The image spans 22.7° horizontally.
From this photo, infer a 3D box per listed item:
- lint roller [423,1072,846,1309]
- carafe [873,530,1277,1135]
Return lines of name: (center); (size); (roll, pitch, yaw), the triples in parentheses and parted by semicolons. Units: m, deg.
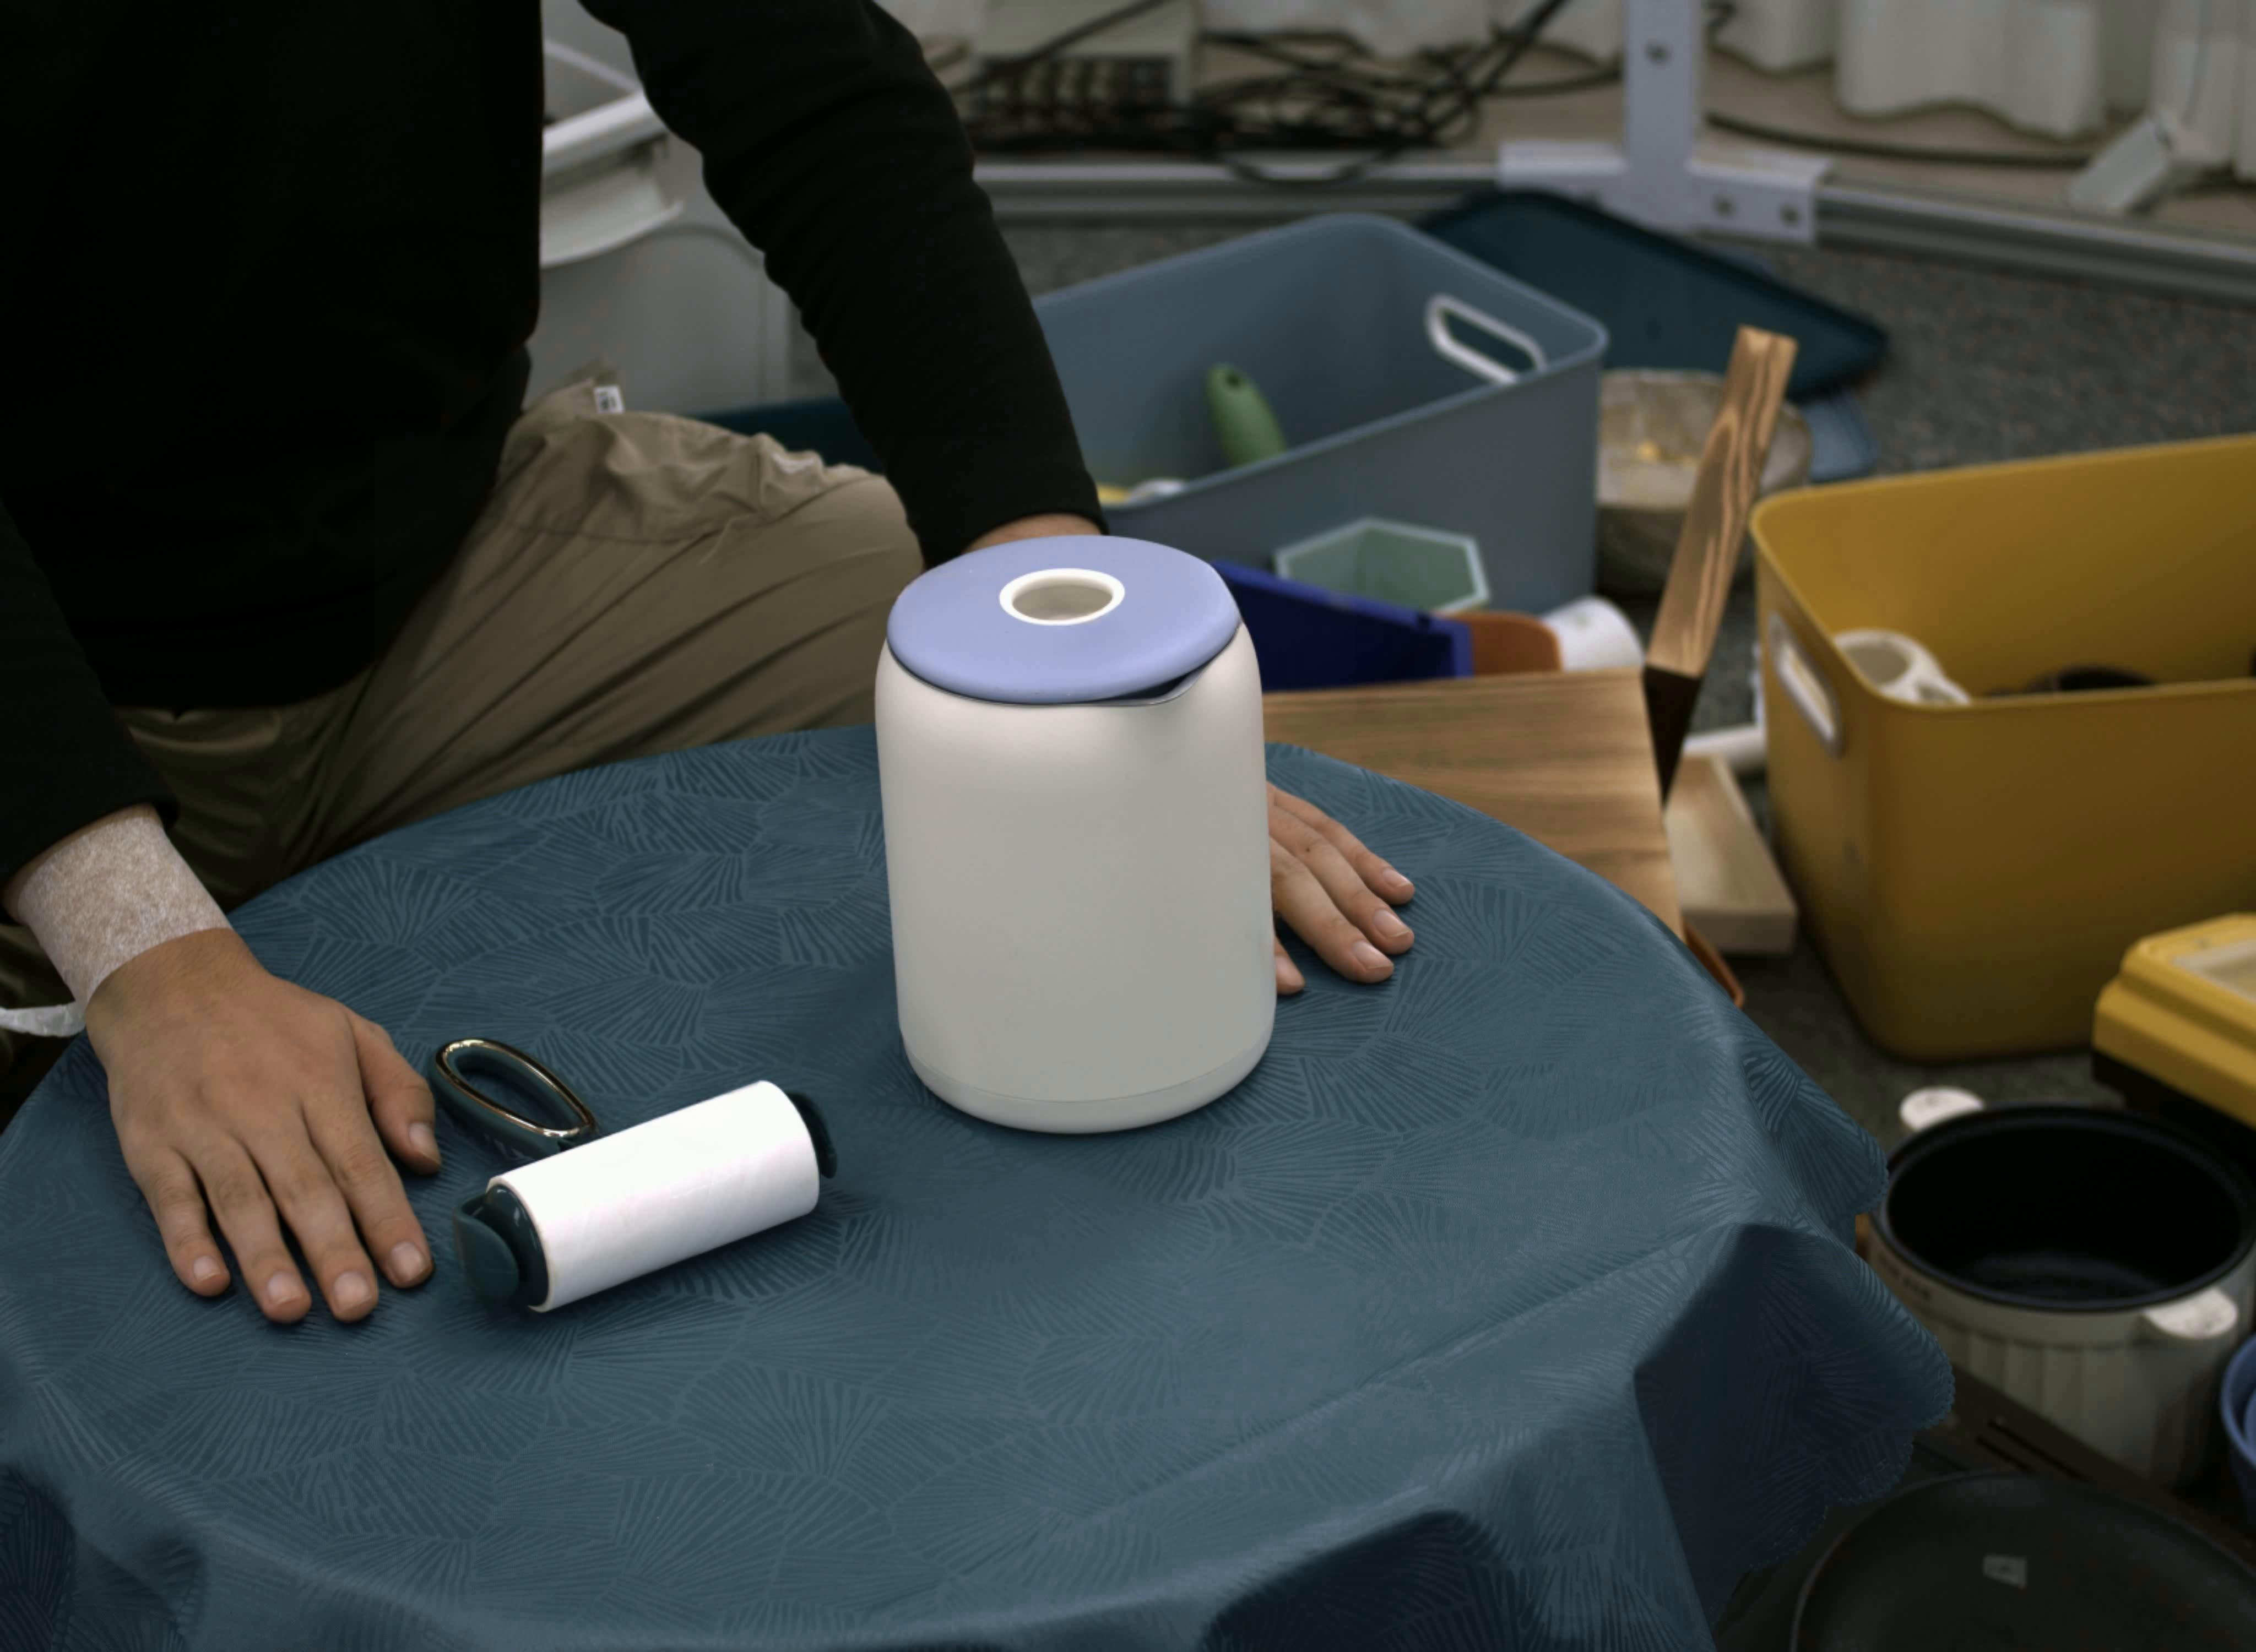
lint roller: (-0.191, 0.099, 1.880); (0.135, 0.048, 0.180); (-19, 28, -27)
carafe: (-0.031, -0.007, 1.929); (0.133, 0.181, 0.191); (-18, 28, -28)
